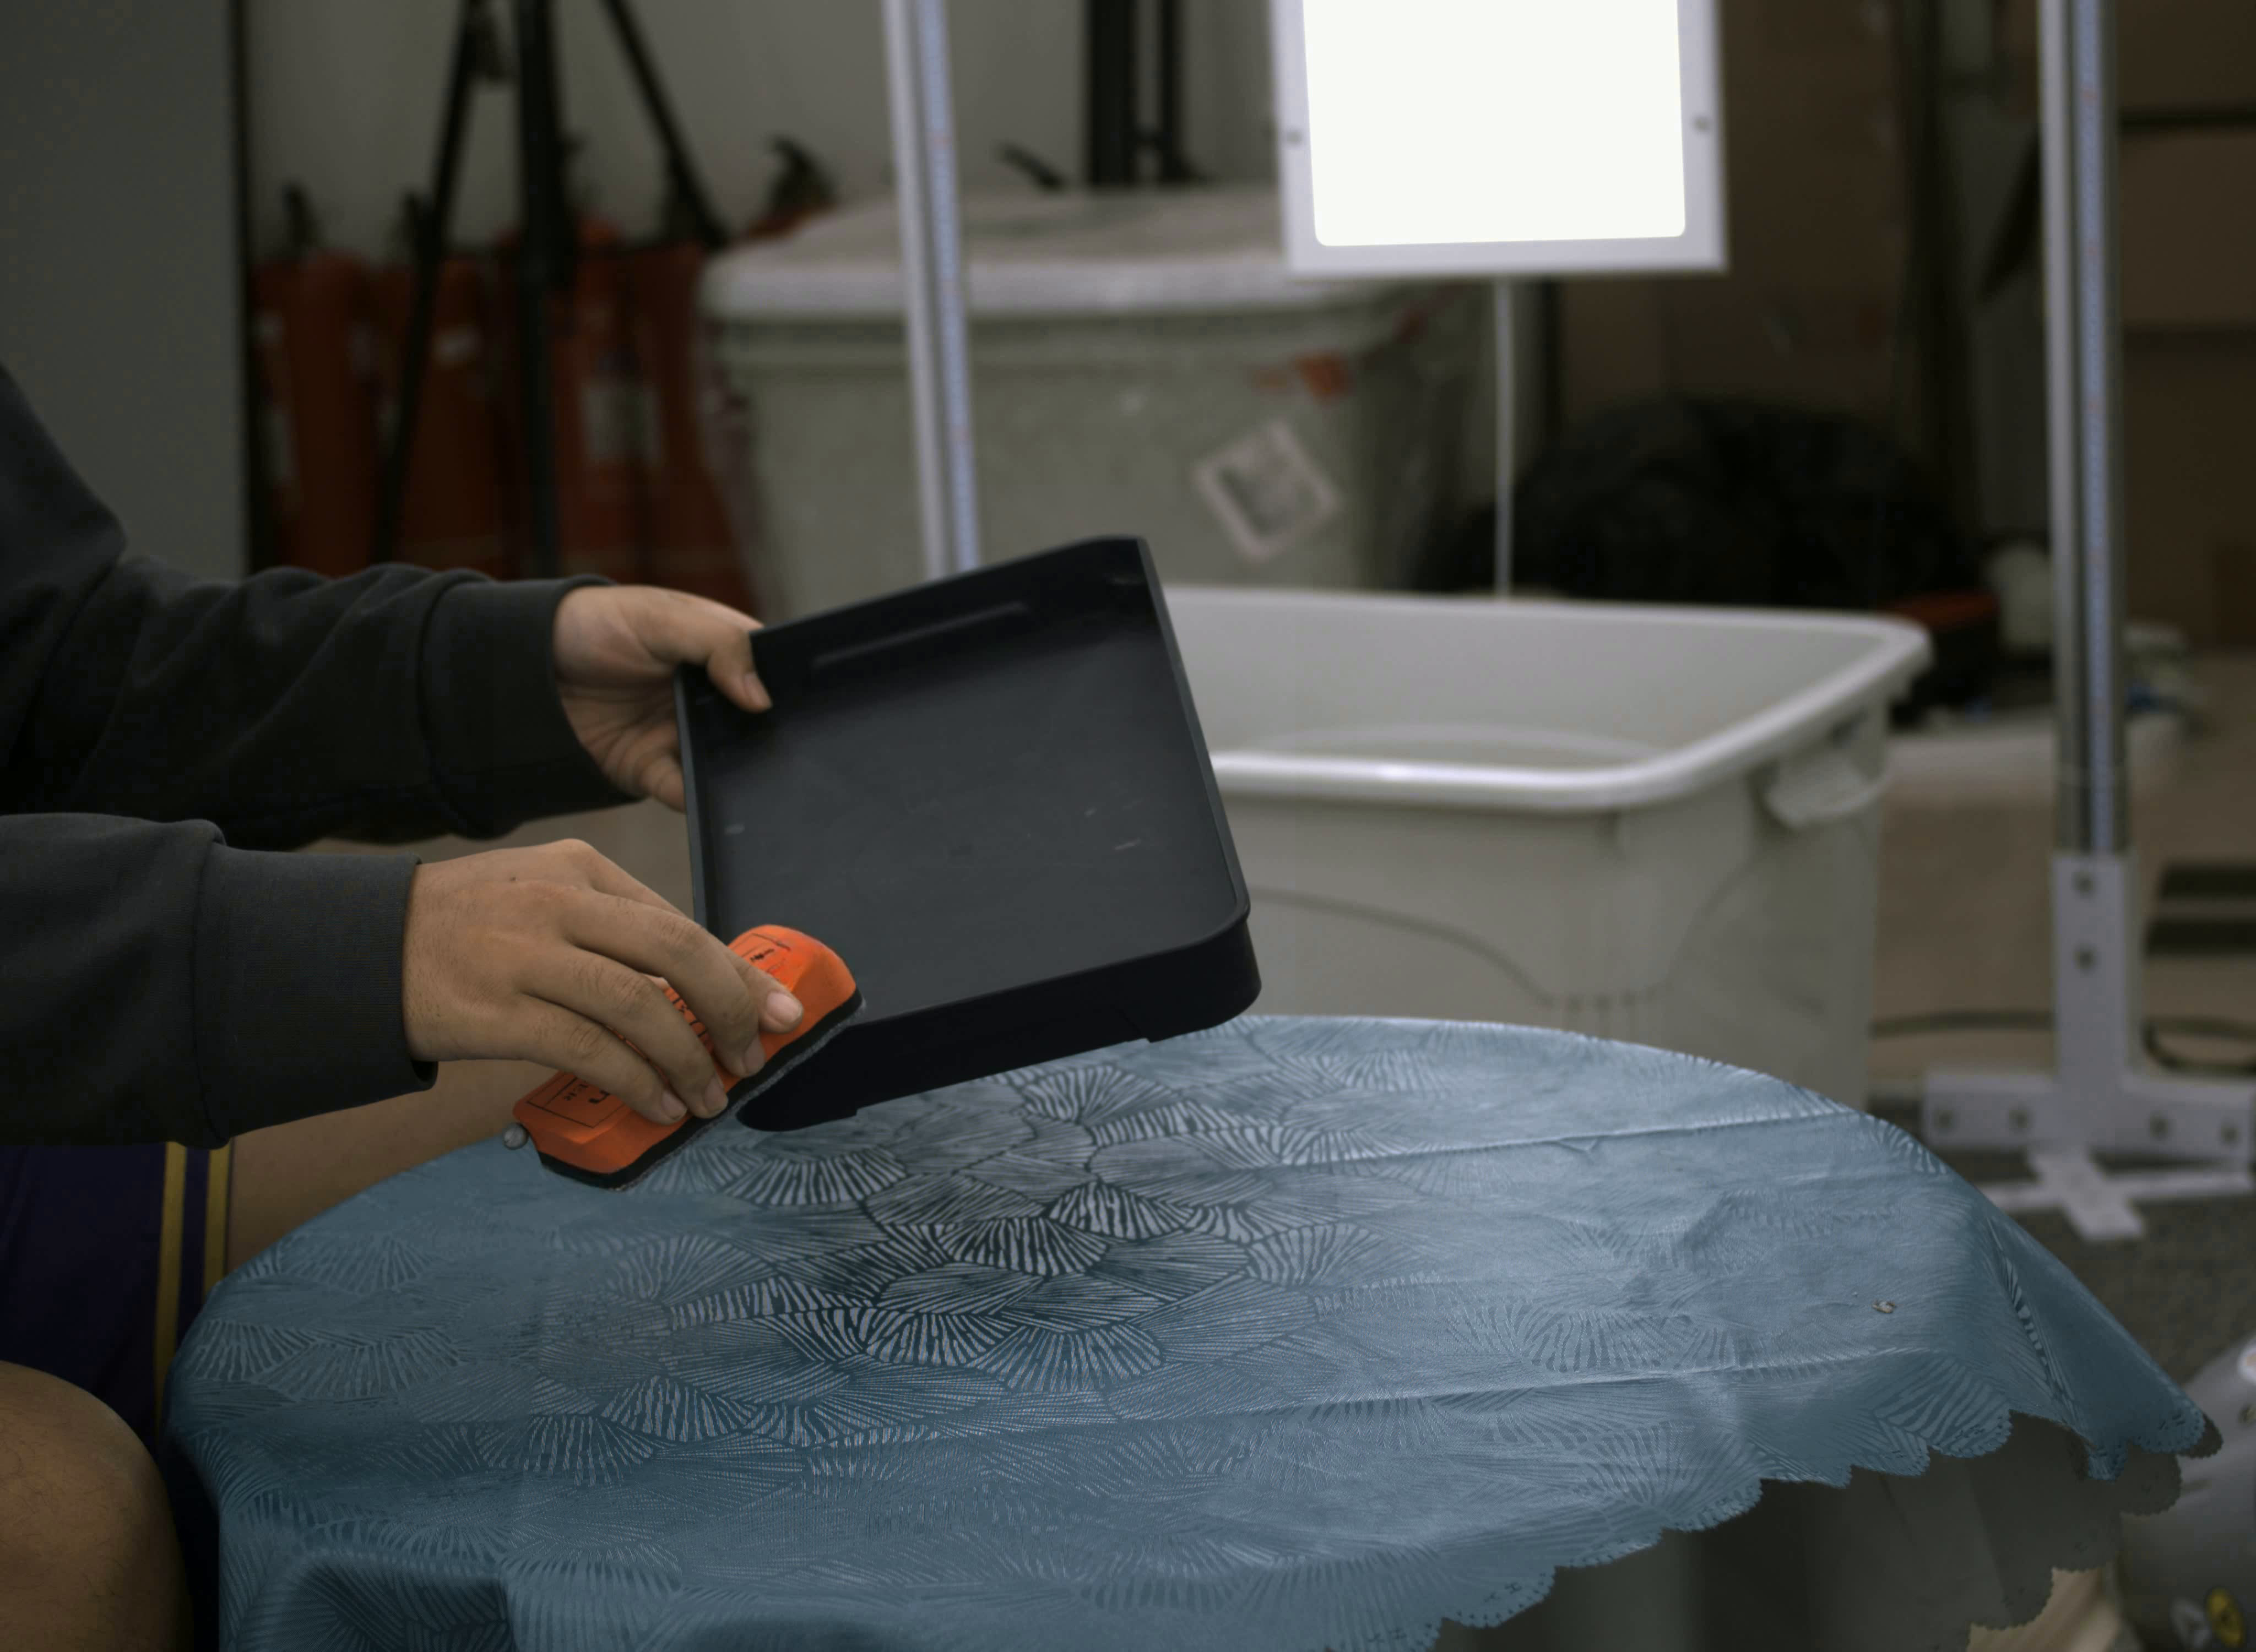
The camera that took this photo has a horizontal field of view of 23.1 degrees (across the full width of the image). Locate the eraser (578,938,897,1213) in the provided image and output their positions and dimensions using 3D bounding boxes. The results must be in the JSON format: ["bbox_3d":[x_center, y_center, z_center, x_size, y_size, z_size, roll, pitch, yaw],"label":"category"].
[{"bbox_3d":[-0.122,0.077,1.729,0.060,0.023,0.106,-1,39,41],"label":"eraser"}]

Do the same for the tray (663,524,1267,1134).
[{"bbox_3d":[-0.061,-0.005,1.910,0.184,0.037,0.318,-17,28,1],"label":"tray"}]
